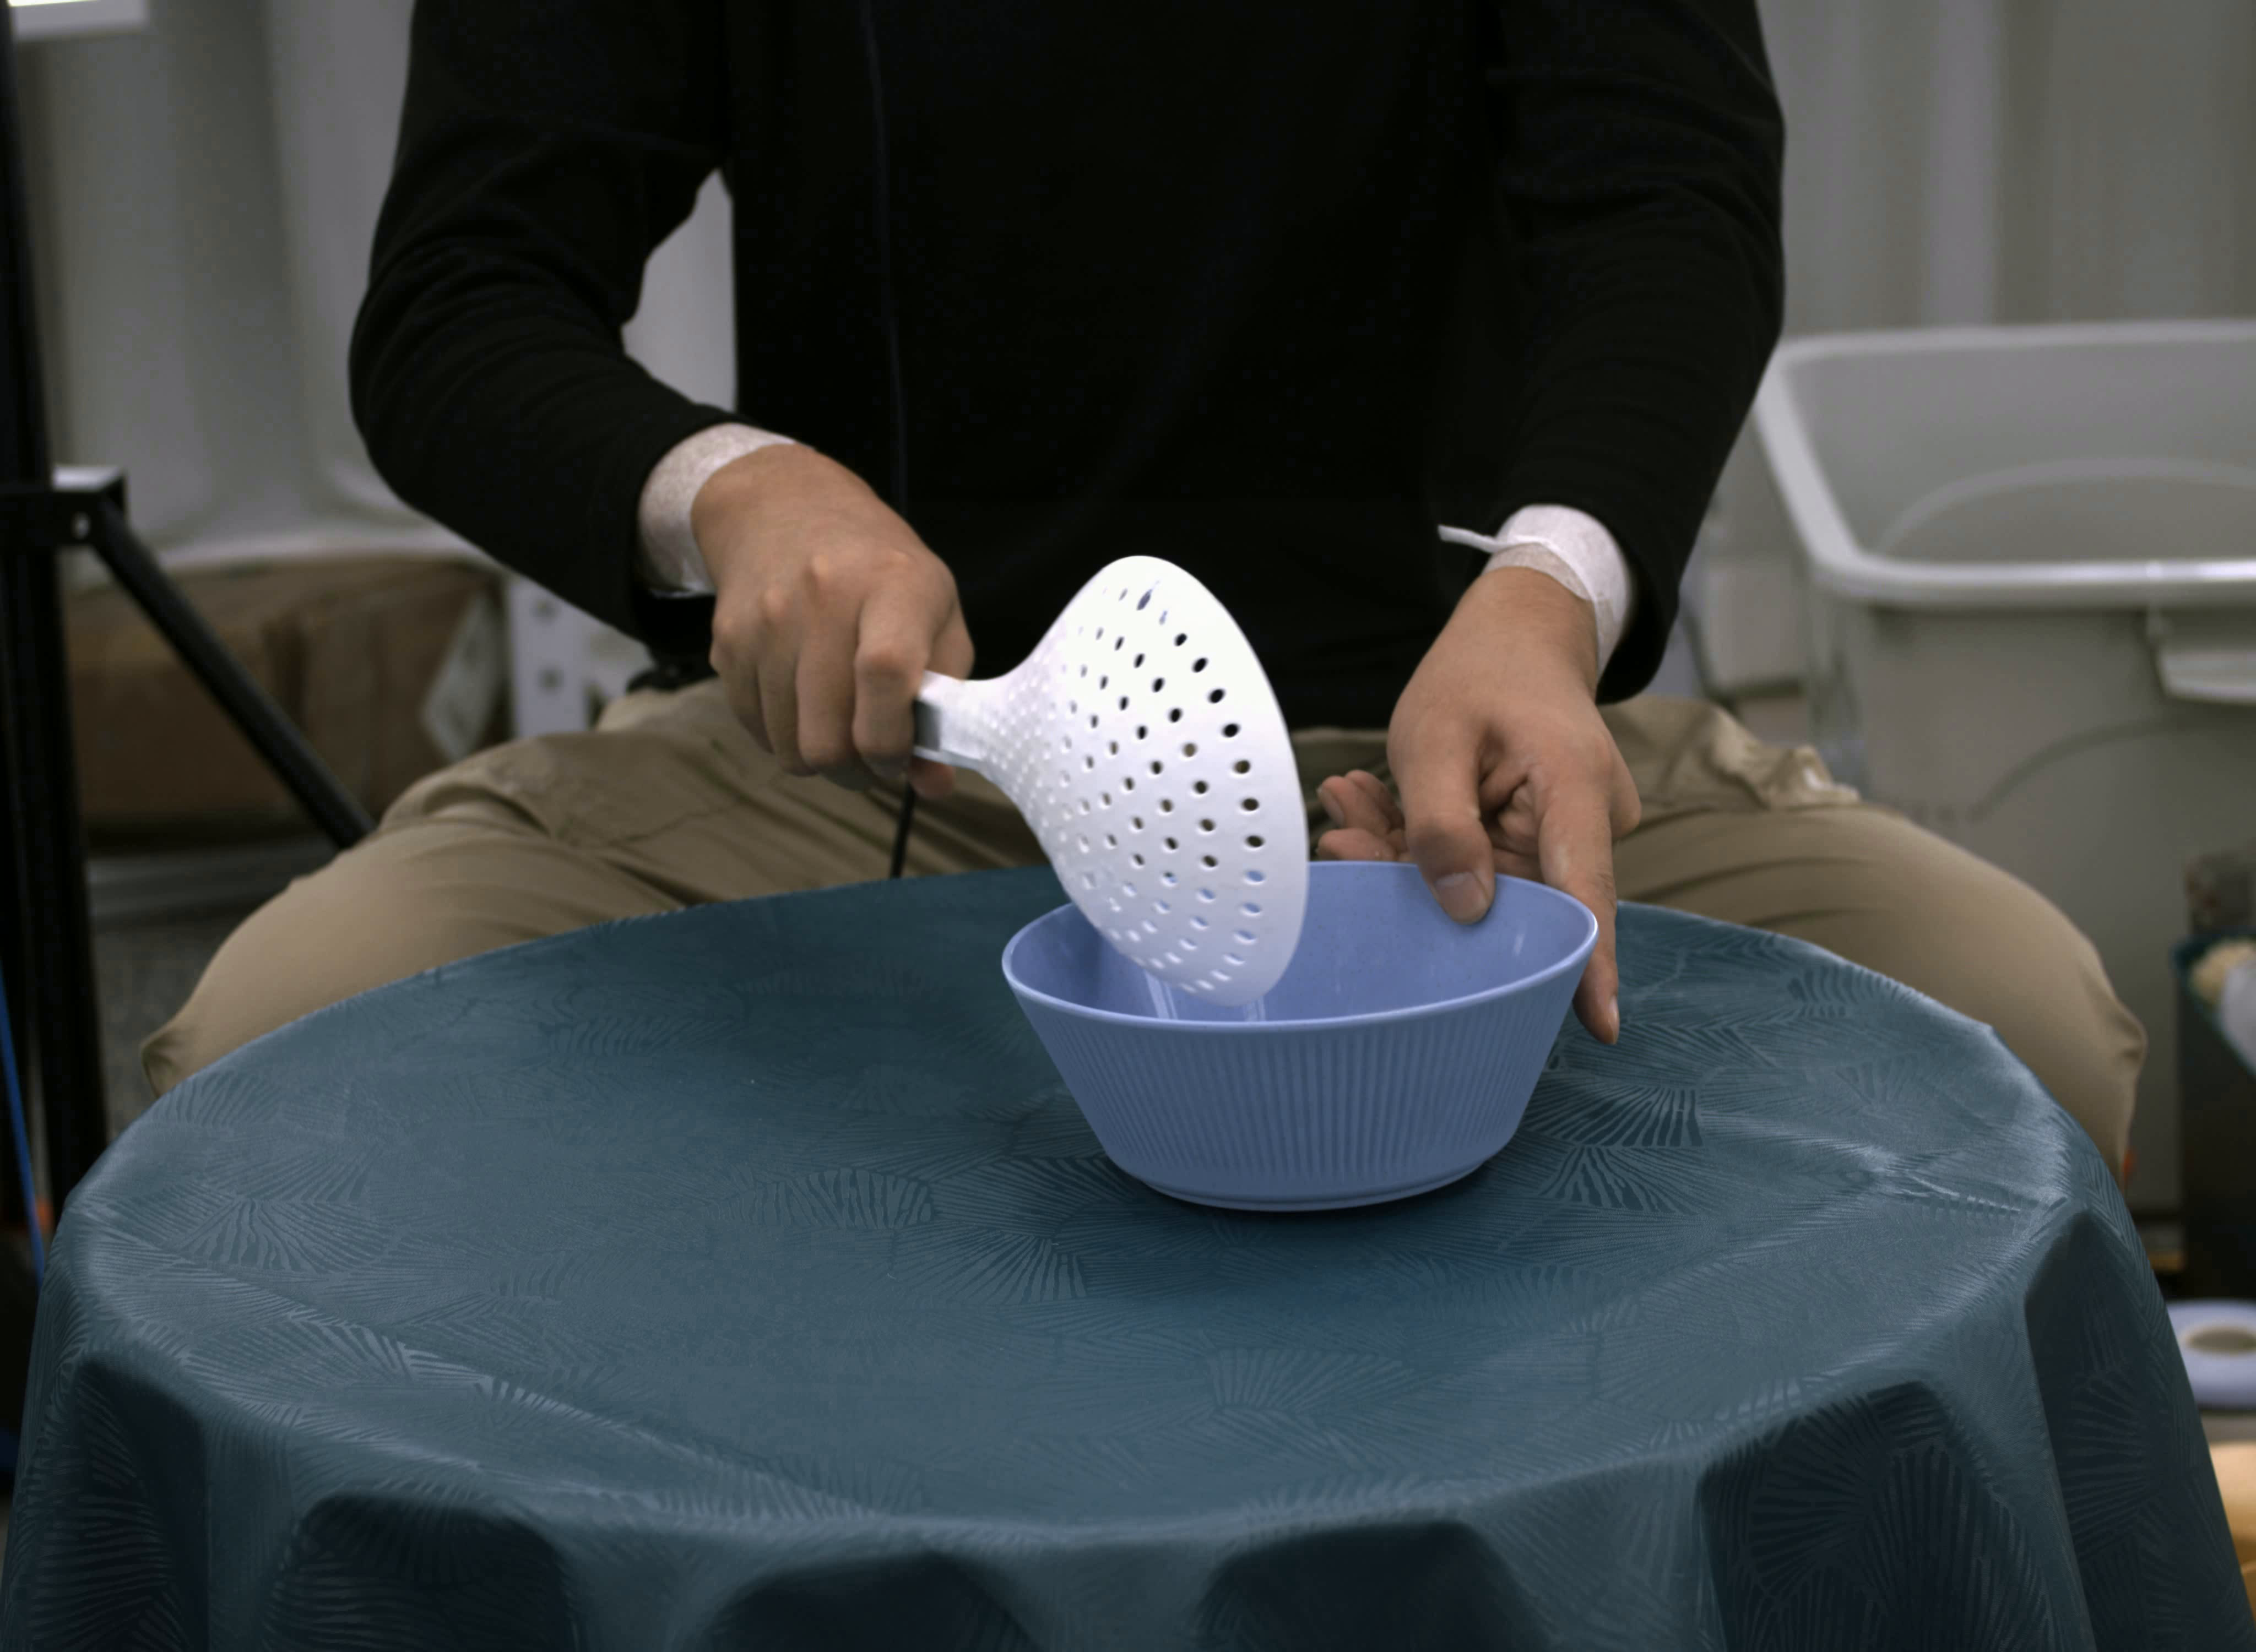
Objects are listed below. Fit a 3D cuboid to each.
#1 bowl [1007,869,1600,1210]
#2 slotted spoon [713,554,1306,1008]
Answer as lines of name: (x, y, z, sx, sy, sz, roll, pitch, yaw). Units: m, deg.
bowl: (0.053, 0.065, 1.569, 0.175, 0.070, 0.177, -4, 13, 0)
slotted spoon: (-0.046, -0.030, 1.654, 0.045, 0.136, 0.356, -12, 15, -23)
